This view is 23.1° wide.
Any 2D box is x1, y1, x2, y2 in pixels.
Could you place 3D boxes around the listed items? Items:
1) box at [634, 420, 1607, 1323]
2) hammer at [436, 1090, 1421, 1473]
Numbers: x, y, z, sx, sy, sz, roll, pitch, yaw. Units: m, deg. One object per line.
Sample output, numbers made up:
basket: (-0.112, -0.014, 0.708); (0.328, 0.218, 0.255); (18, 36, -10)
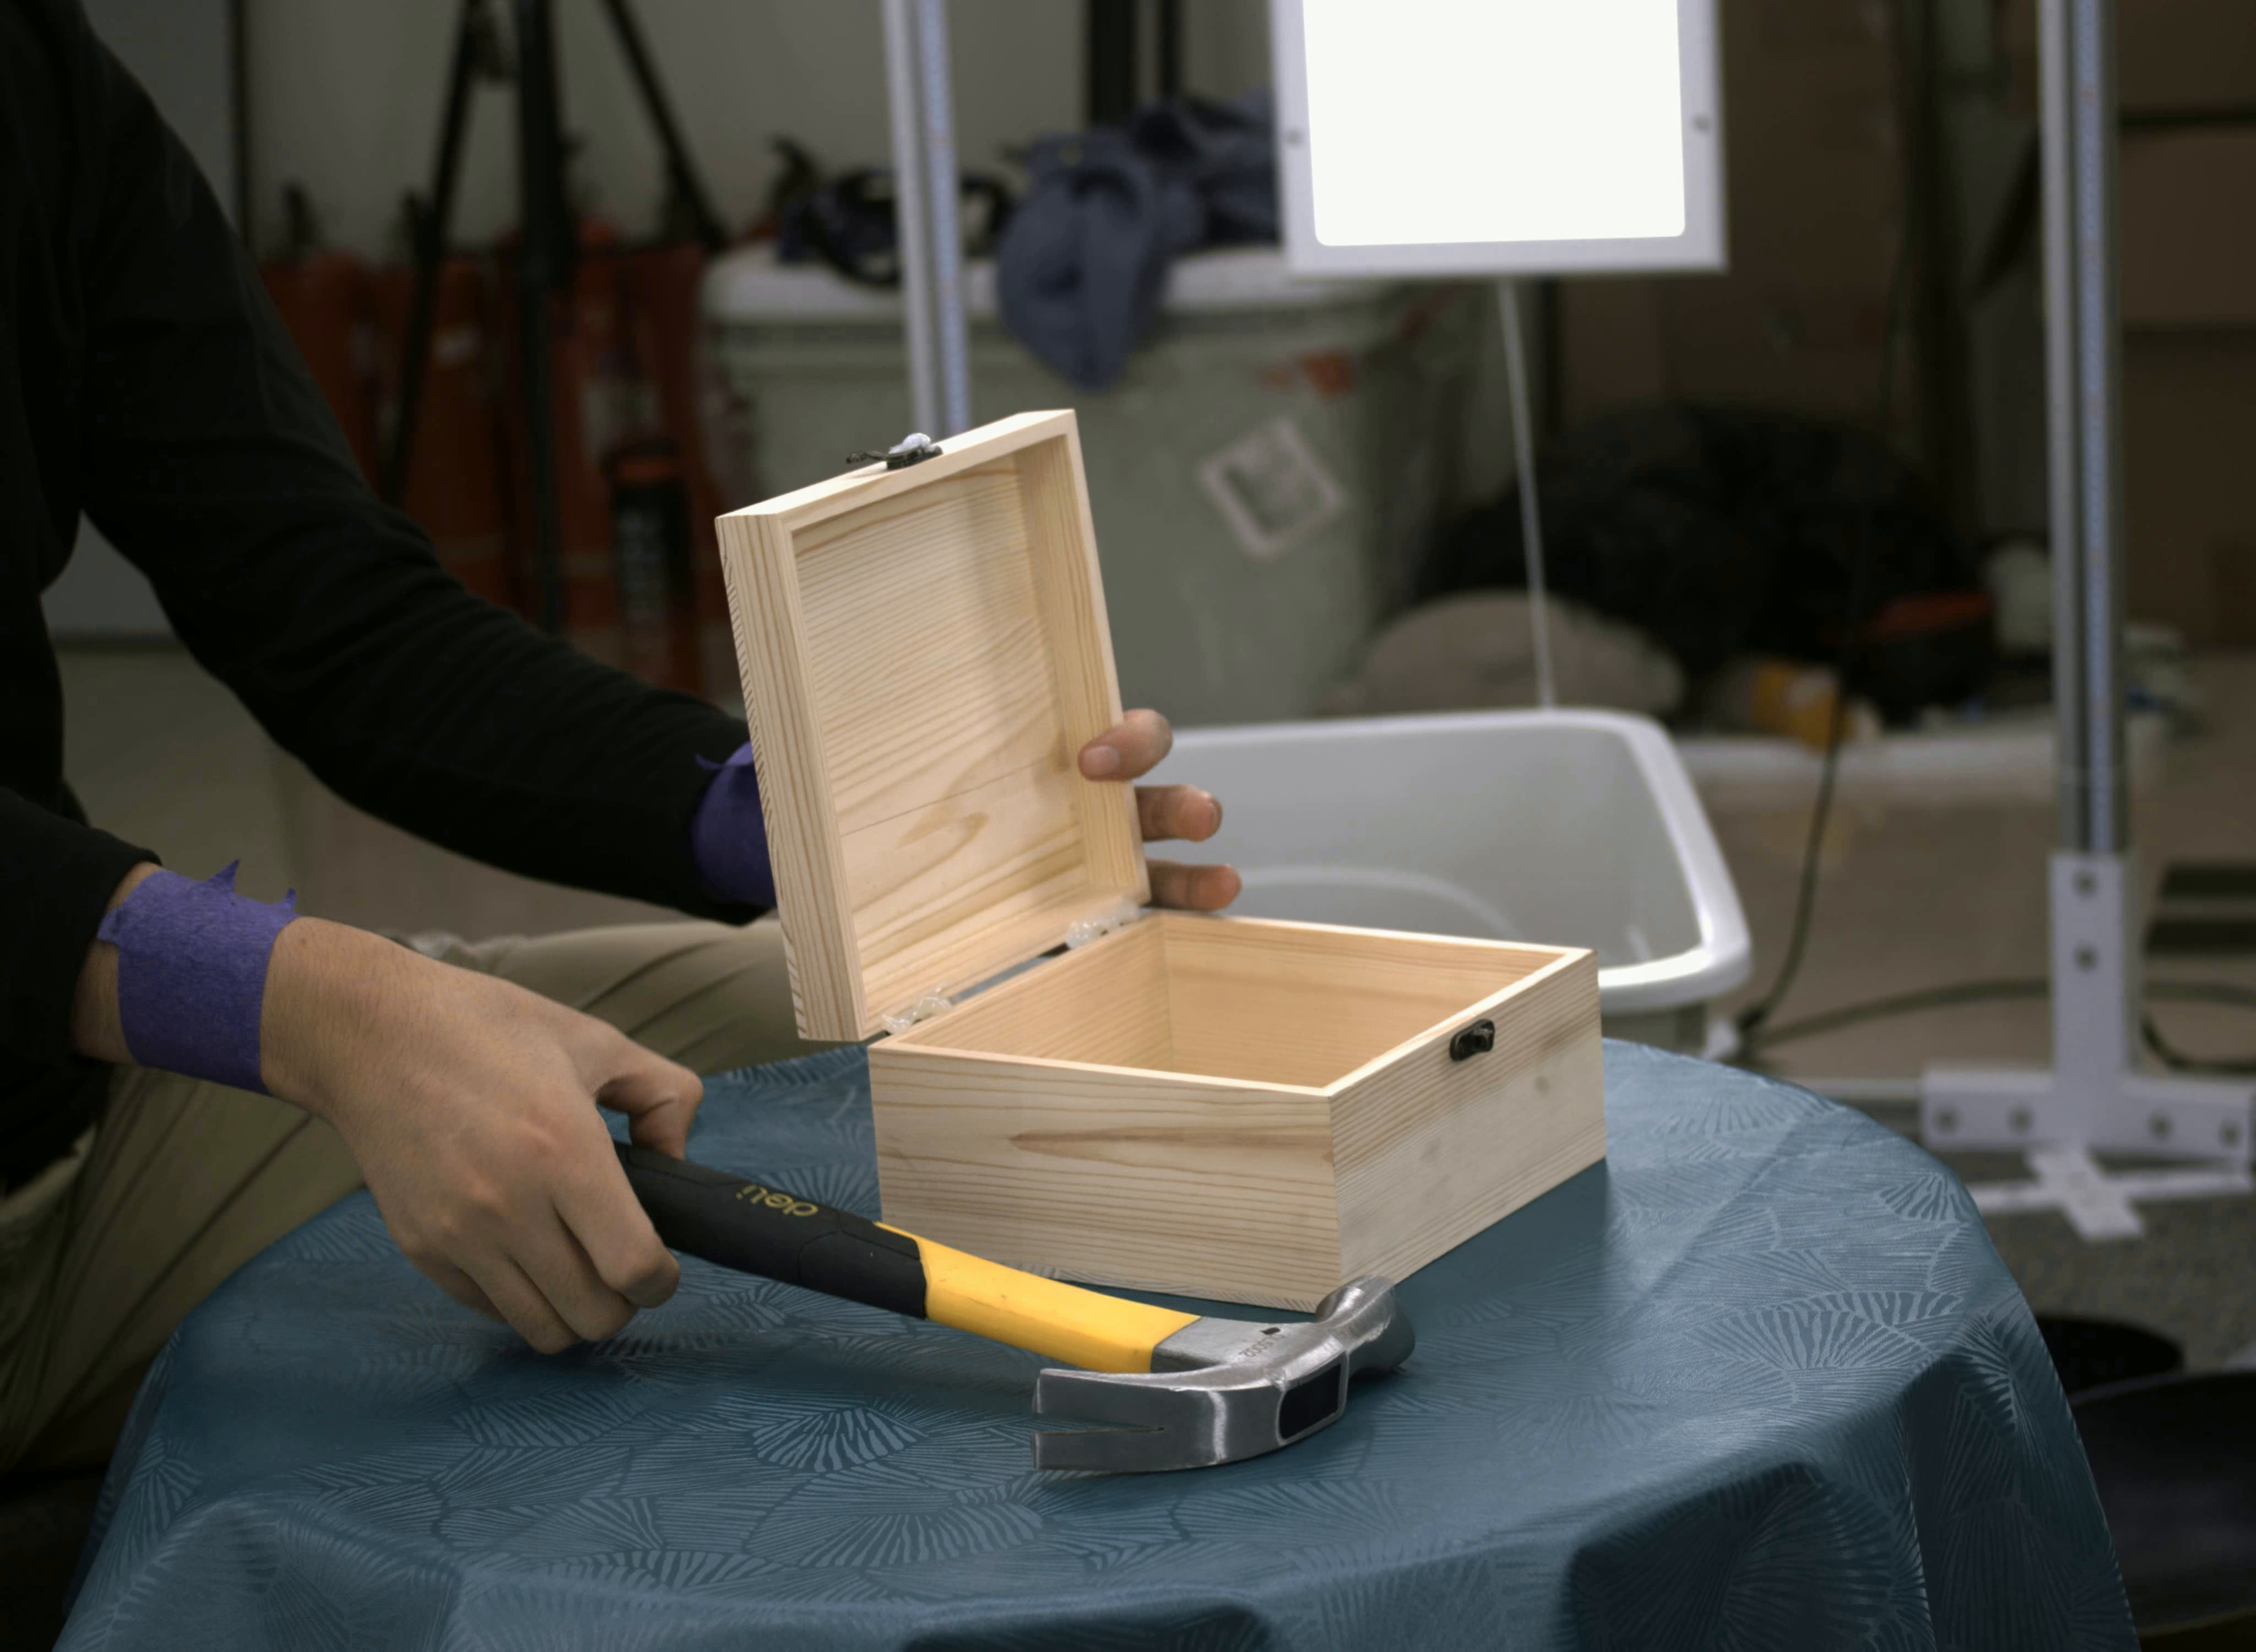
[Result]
box: (0.004, 0.007, 1.860); (0.270, 0.254, 0.177); (5, 19, 33)
hammer: (-0.083, 0.136, 1.738); (0.345, 0.032, 0.128); (15, 23, 34)
